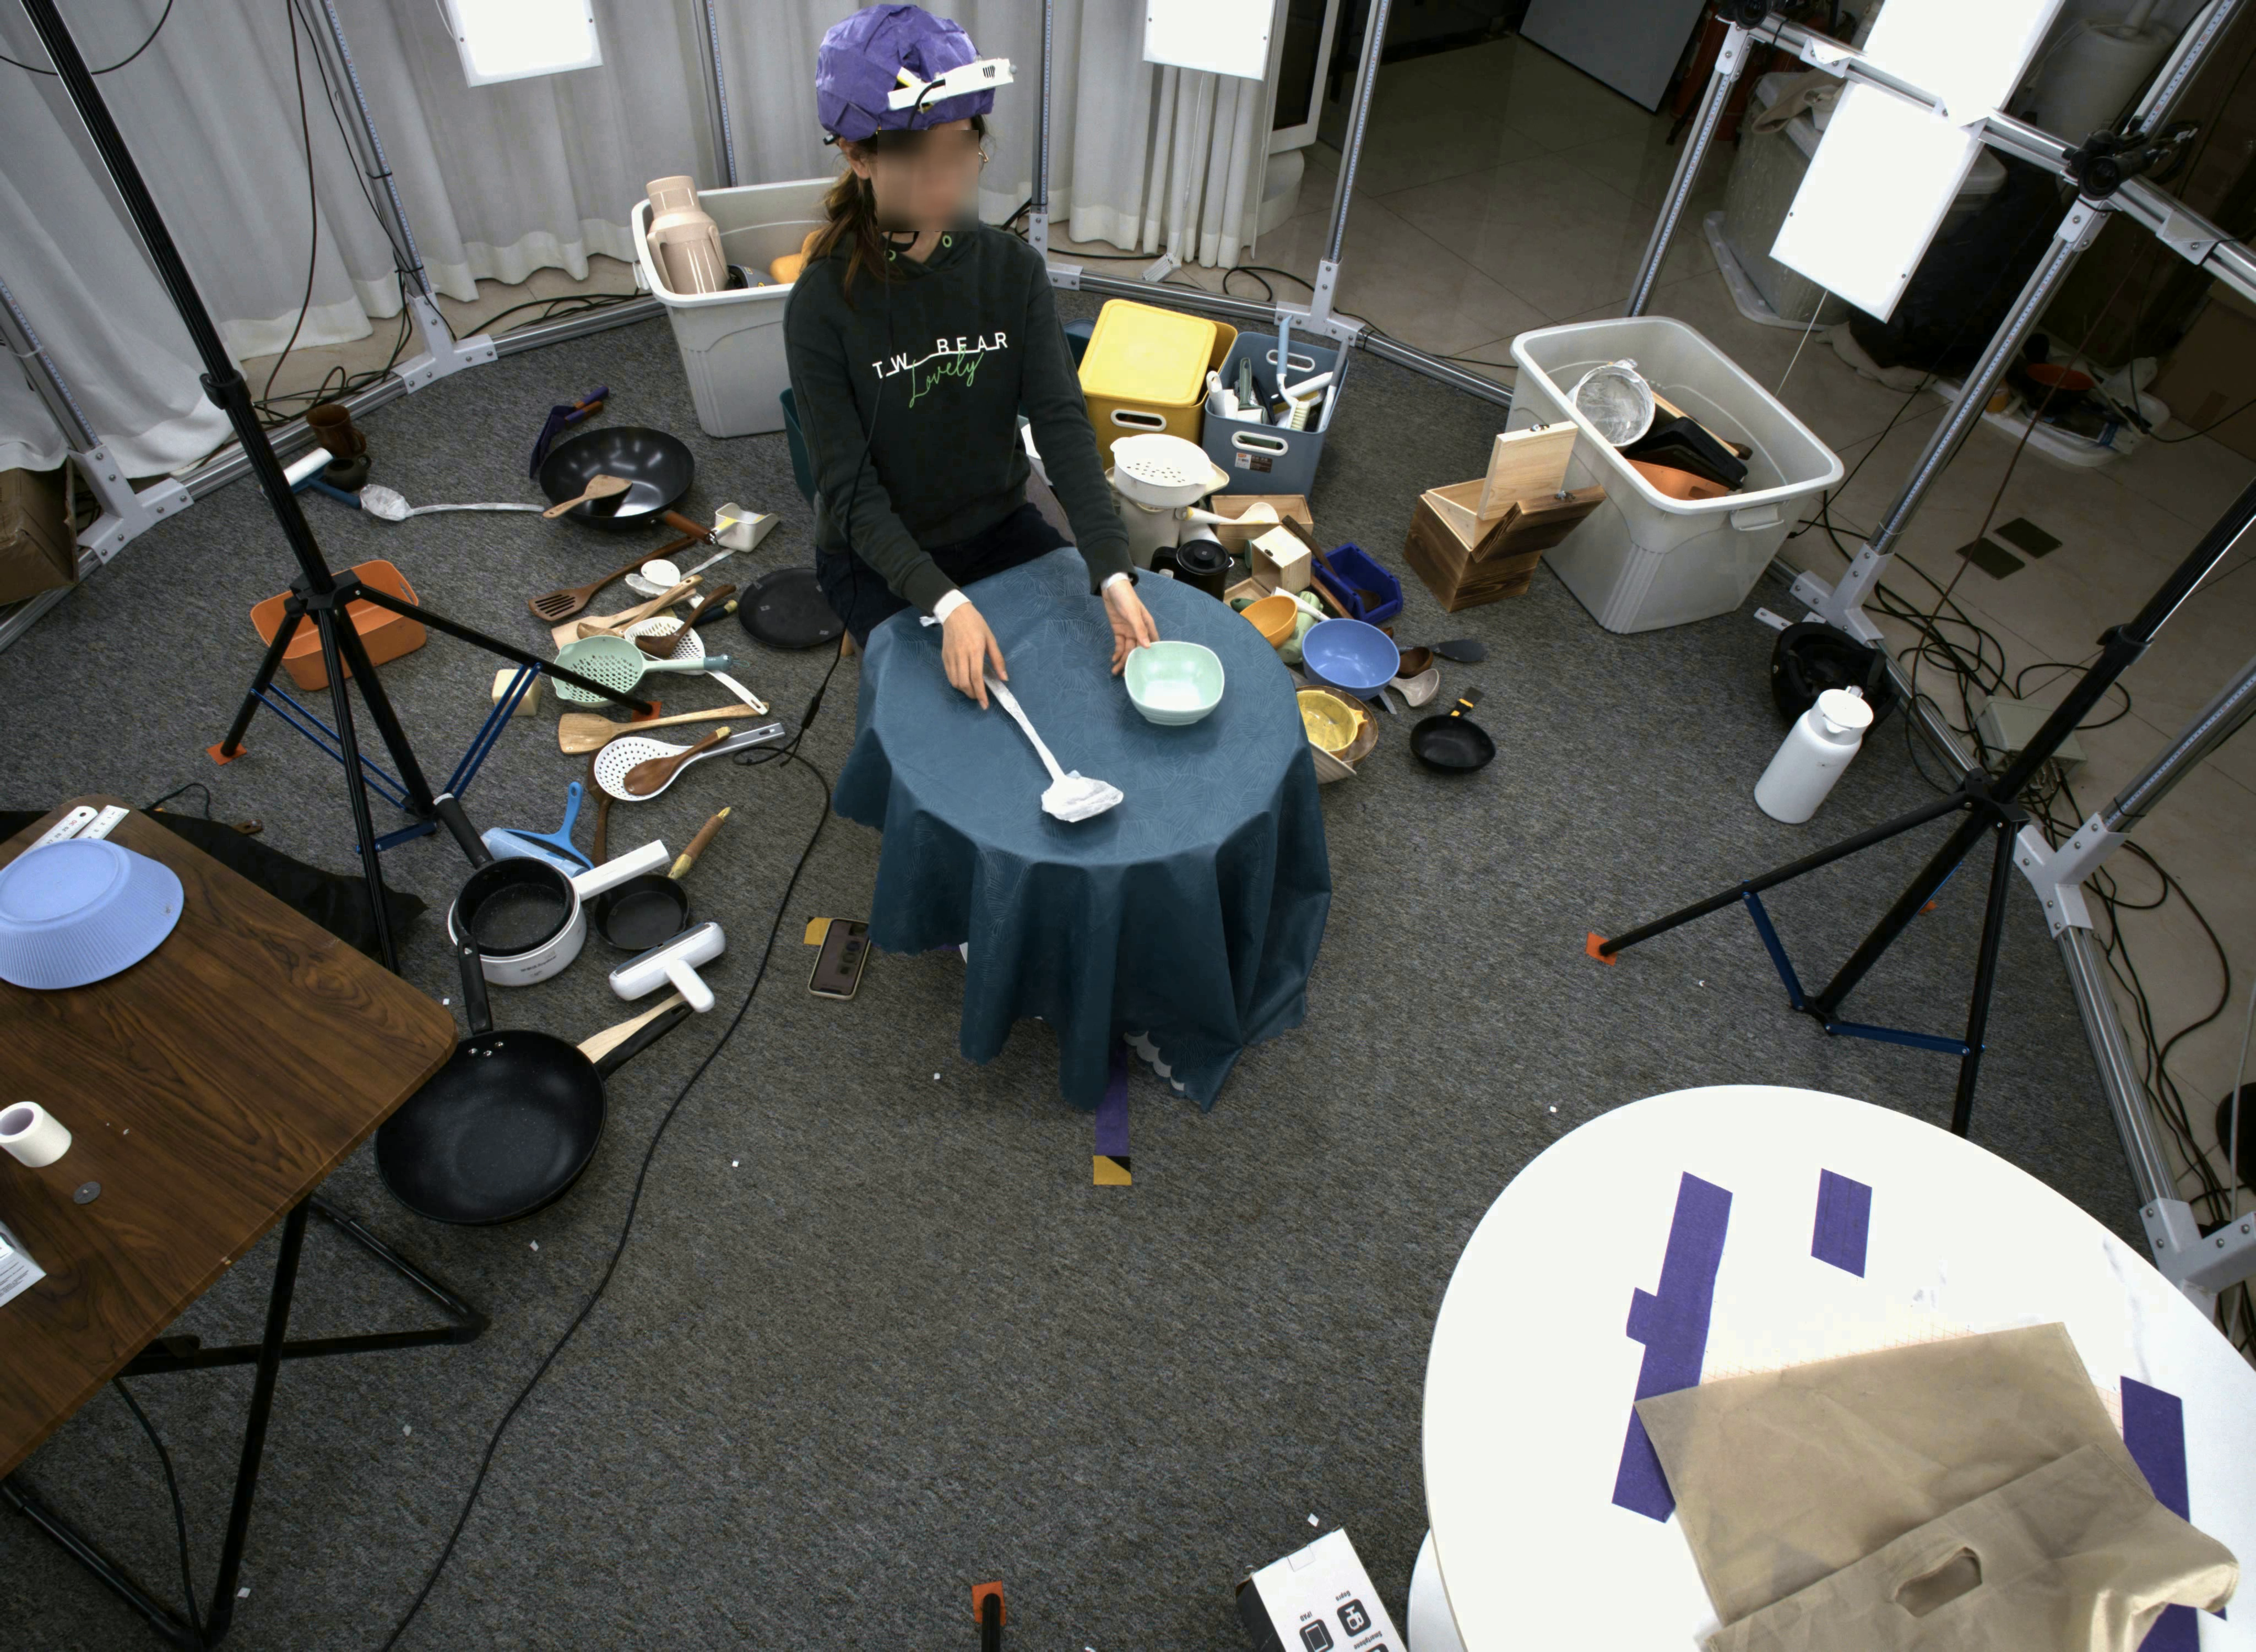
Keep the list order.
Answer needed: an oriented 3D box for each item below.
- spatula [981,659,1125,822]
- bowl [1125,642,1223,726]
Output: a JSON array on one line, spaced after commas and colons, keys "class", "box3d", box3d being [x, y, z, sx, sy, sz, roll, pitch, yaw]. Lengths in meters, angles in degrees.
[{"class": "spatula", "box3d": [-0.126, -0.128, 1.762, 0.099, 0.043, 0.373, -22, 54, -19]}, {"class": "bowl", "box3d": [0.062, -0.192, 1.820, 0.151, 0.057, 0.155, 3, 50, -4]}]
